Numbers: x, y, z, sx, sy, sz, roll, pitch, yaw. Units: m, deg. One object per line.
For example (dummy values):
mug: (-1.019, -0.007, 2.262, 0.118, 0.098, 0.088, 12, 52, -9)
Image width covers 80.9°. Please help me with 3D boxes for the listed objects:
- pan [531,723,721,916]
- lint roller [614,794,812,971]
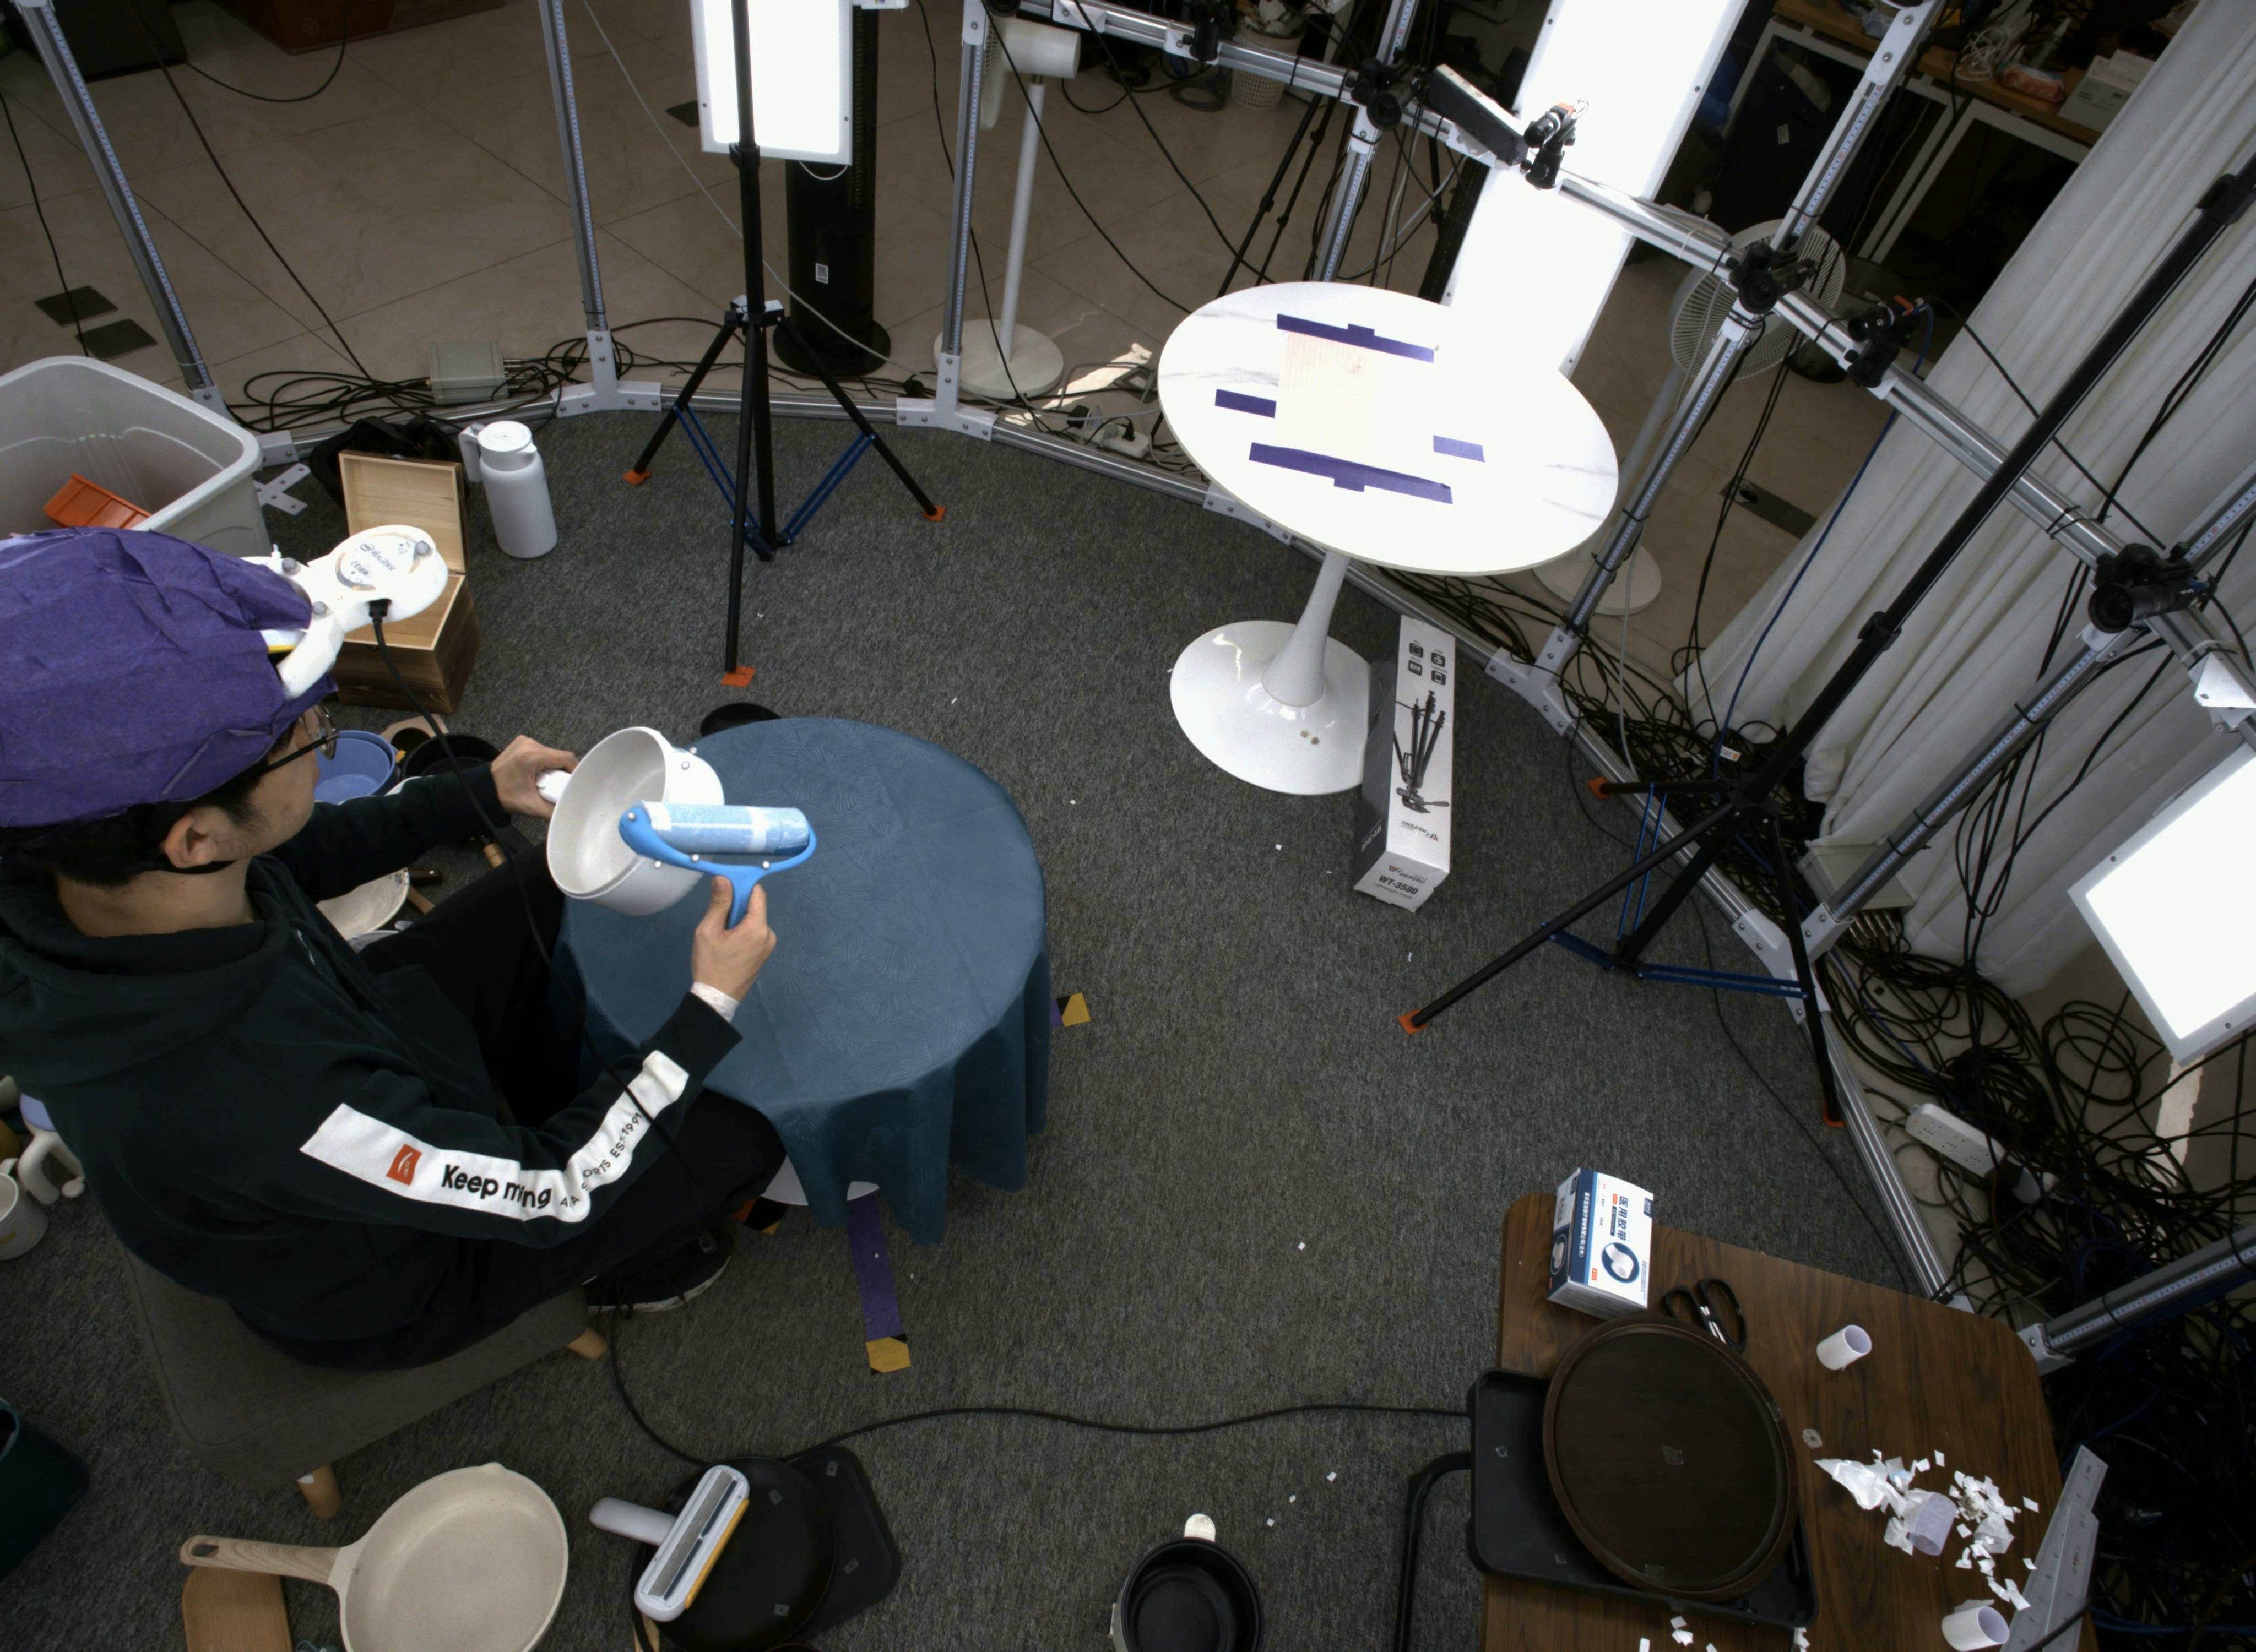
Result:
pan: (-0.599, -0.022, 1.470, 0.341, 0.105, 0.202, 18, 81, 37)
lint roller: (-0.423, 0.054, 1.353, 0.233, 0.066, 0.181, -3, 80, -54)
